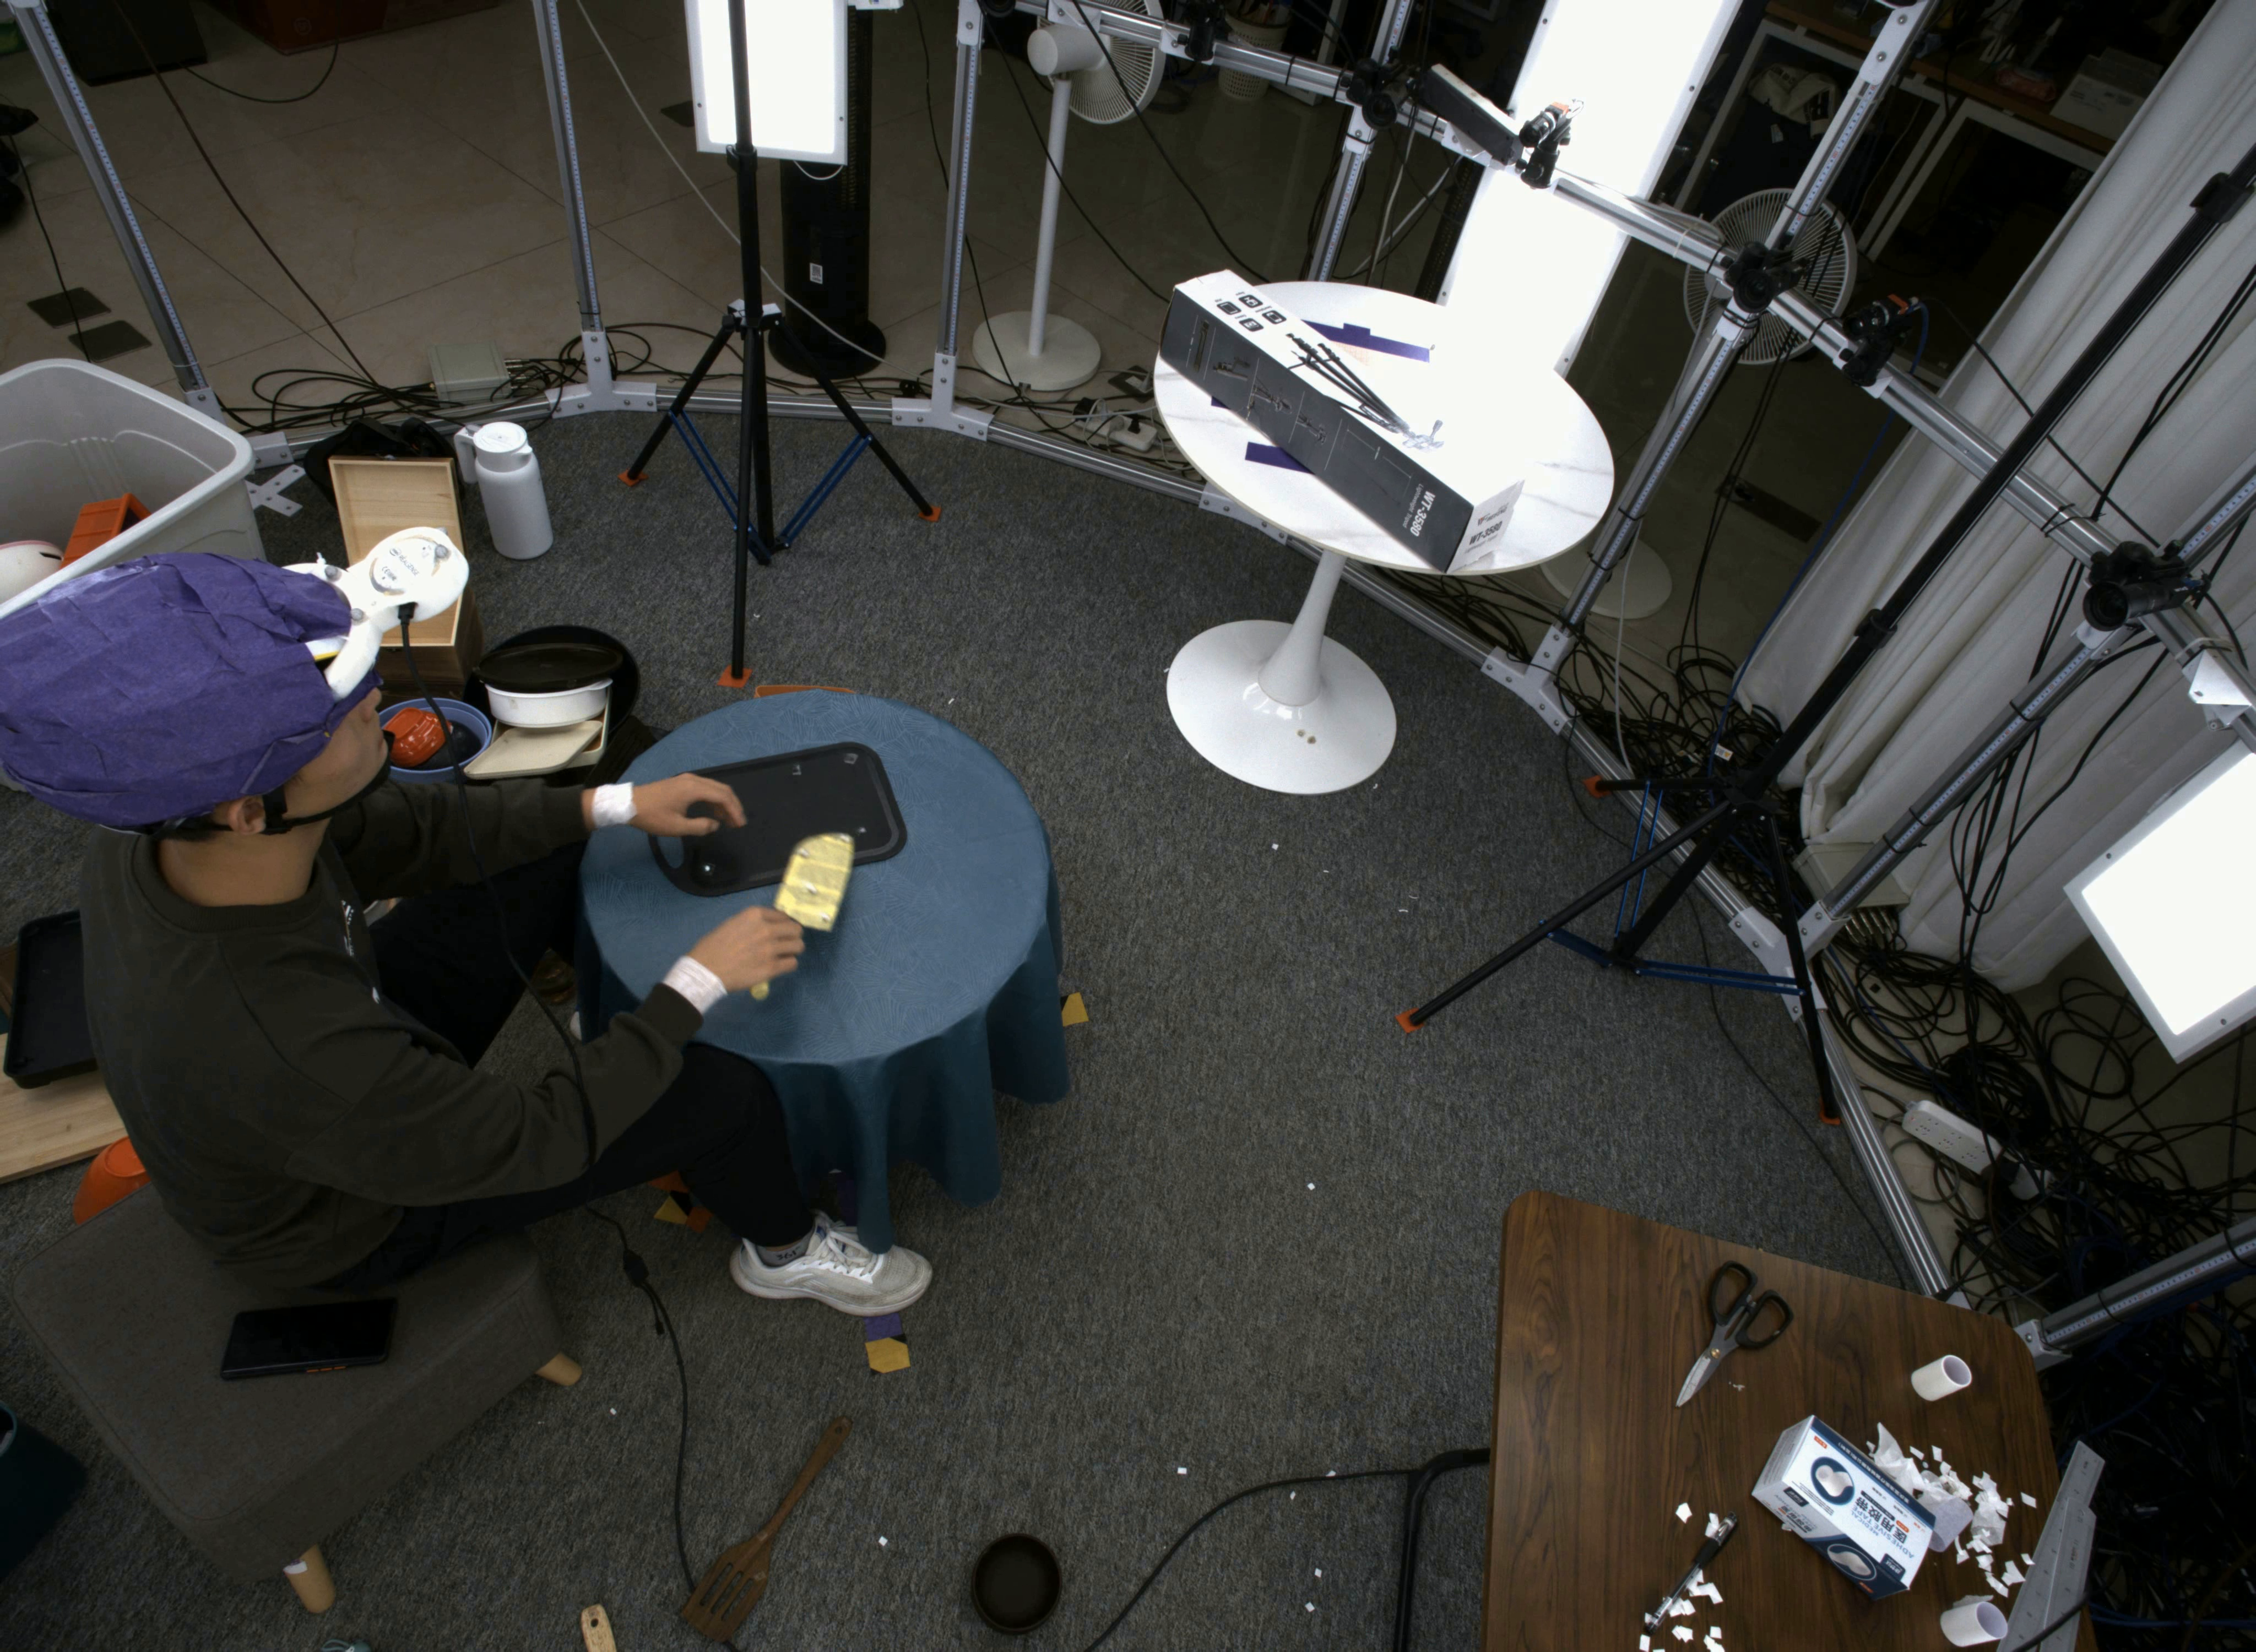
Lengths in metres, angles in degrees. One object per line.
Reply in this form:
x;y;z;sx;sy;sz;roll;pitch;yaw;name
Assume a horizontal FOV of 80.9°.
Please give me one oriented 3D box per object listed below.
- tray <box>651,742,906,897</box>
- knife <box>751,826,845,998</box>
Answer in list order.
-0.470;-0.014;1.729;0.327;0.010;0.206;-12;58;-22;tray
-0.400;0.095;1.579;0.081;0.028;0.284;16;43;-7;knife
